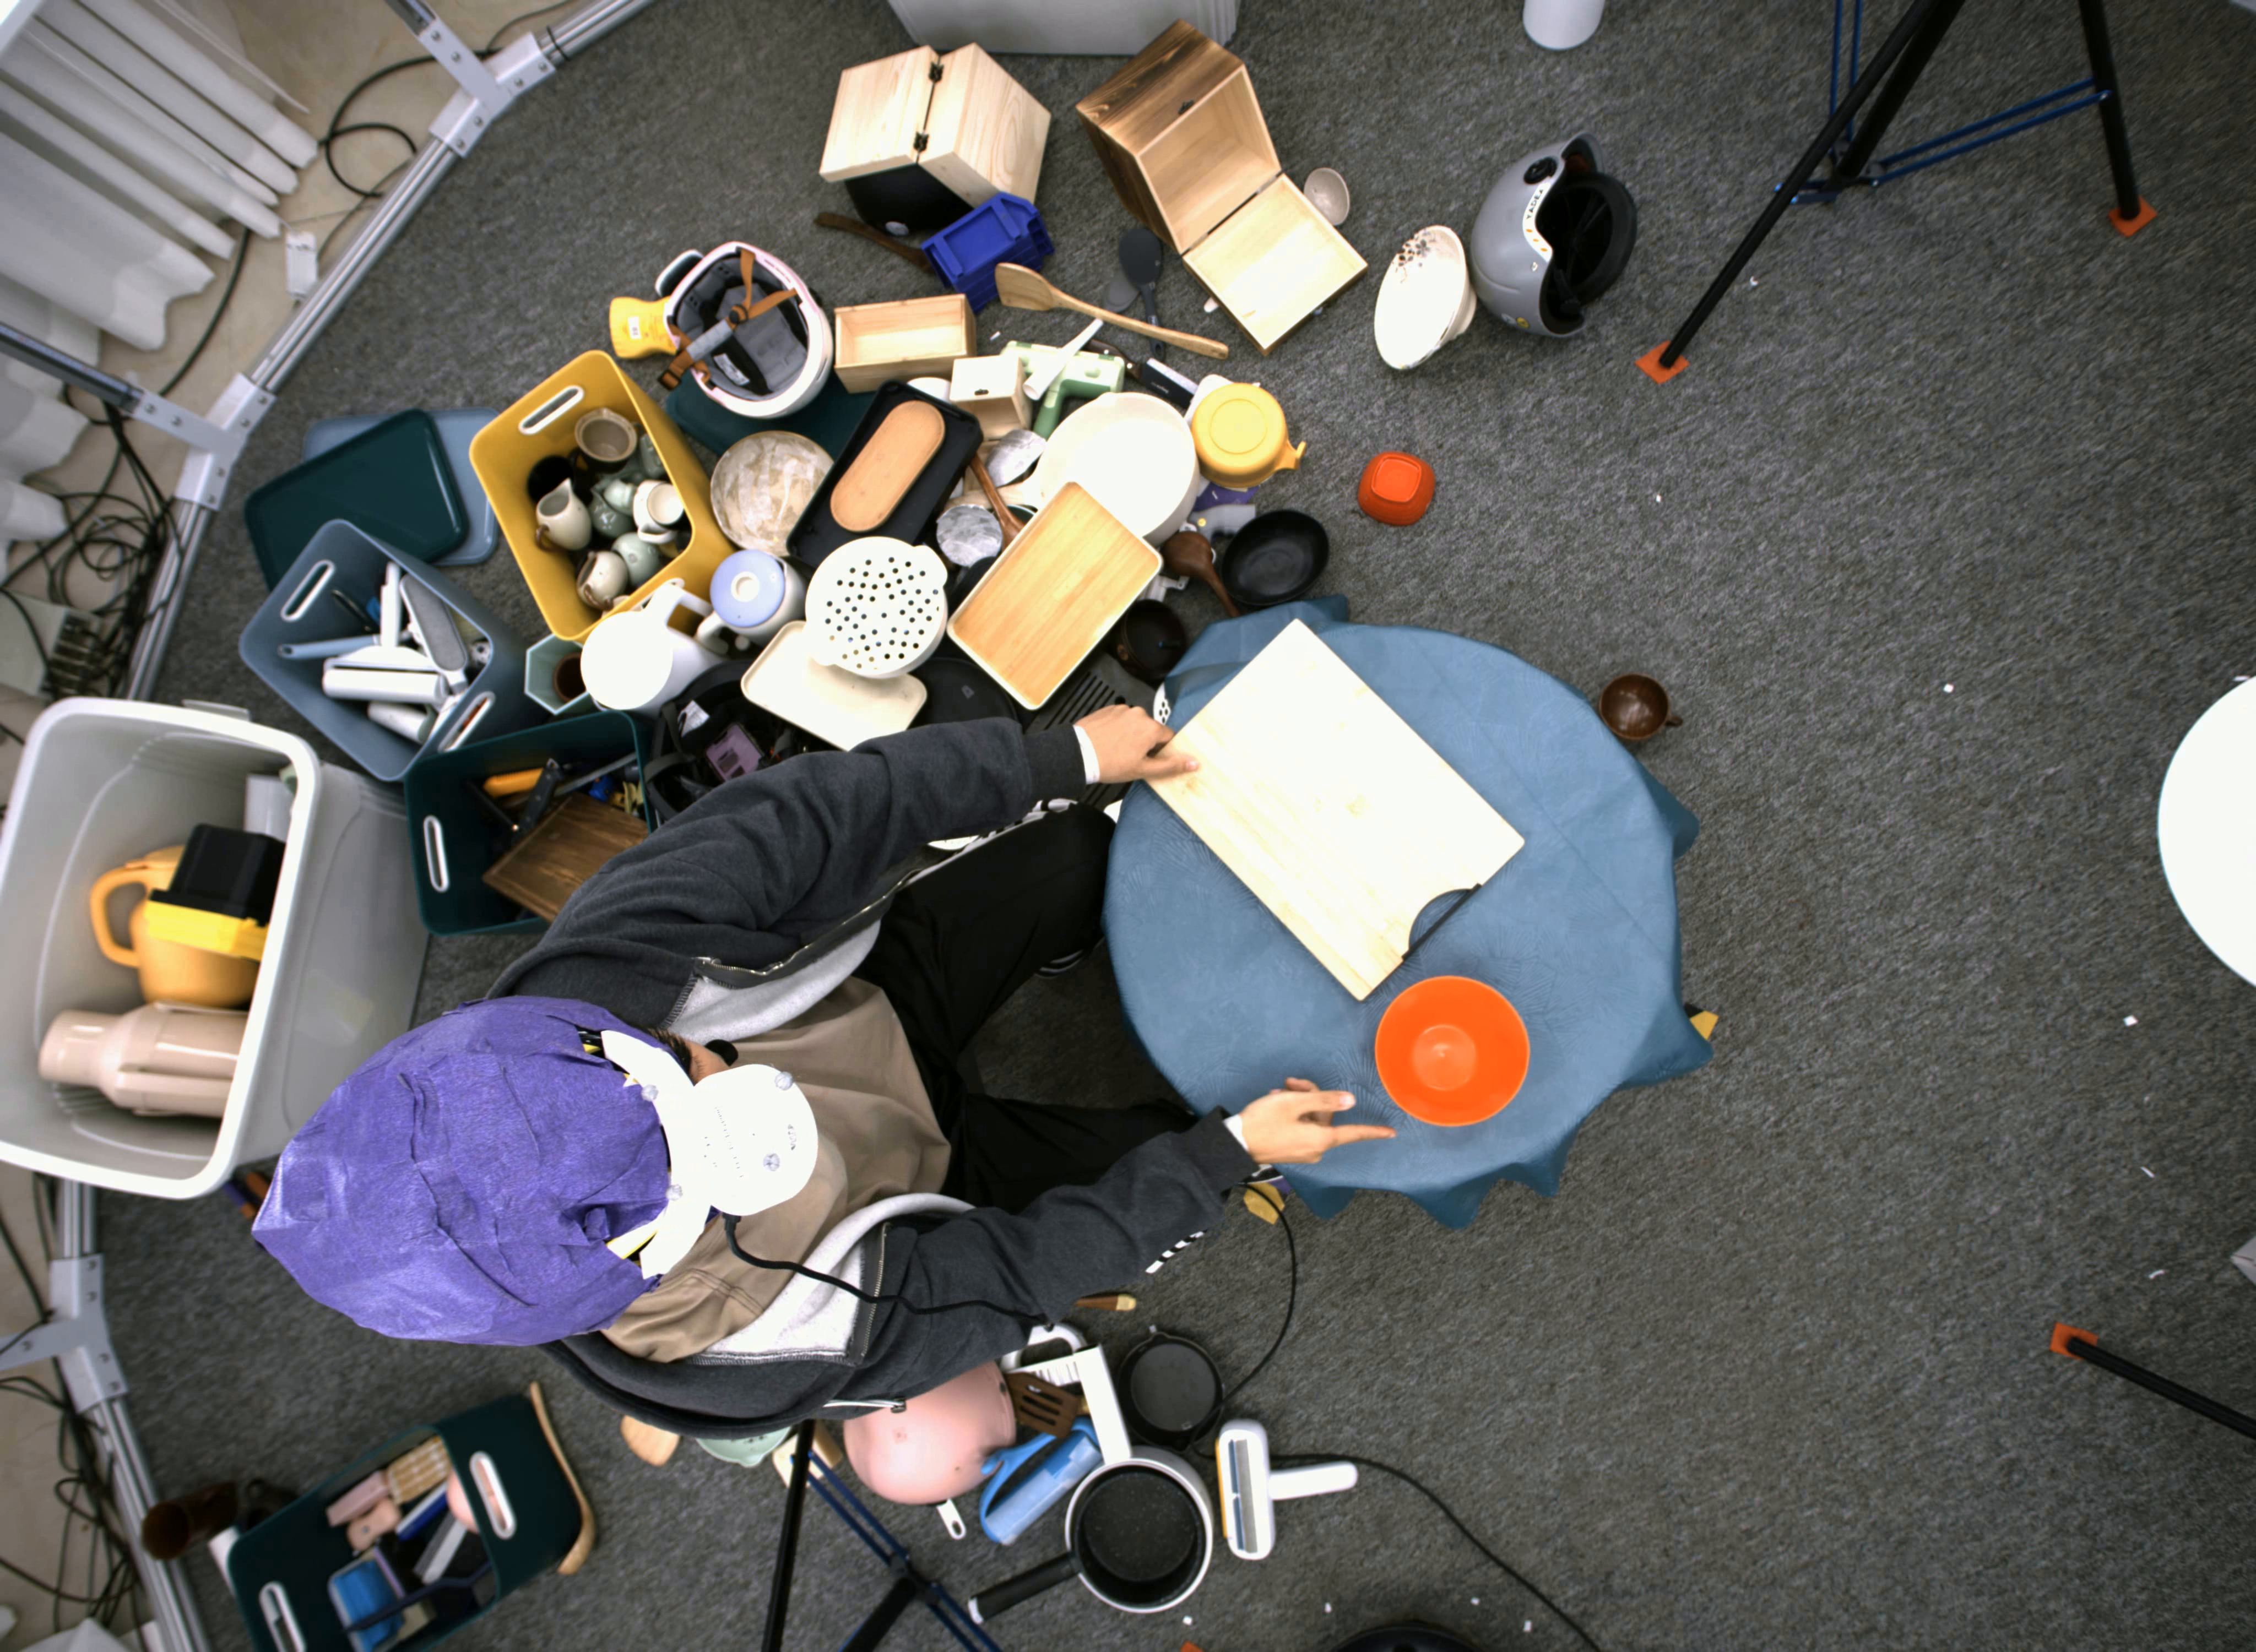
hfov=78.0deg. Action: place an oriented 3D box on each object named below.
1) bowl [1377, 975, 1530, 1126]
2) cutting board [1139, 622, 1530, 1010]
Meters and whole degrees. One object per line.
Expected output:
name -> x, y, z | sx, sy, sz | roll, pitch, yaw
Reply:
bowl -> 0.323, 0.223, 1.389 | 0.148, 0.105, 0.147 | -1, 86, 8
cutting board -> 0.215, -0.016, 1.463 | 0.252, 0.023, 0.347 | -45, 81, 6
